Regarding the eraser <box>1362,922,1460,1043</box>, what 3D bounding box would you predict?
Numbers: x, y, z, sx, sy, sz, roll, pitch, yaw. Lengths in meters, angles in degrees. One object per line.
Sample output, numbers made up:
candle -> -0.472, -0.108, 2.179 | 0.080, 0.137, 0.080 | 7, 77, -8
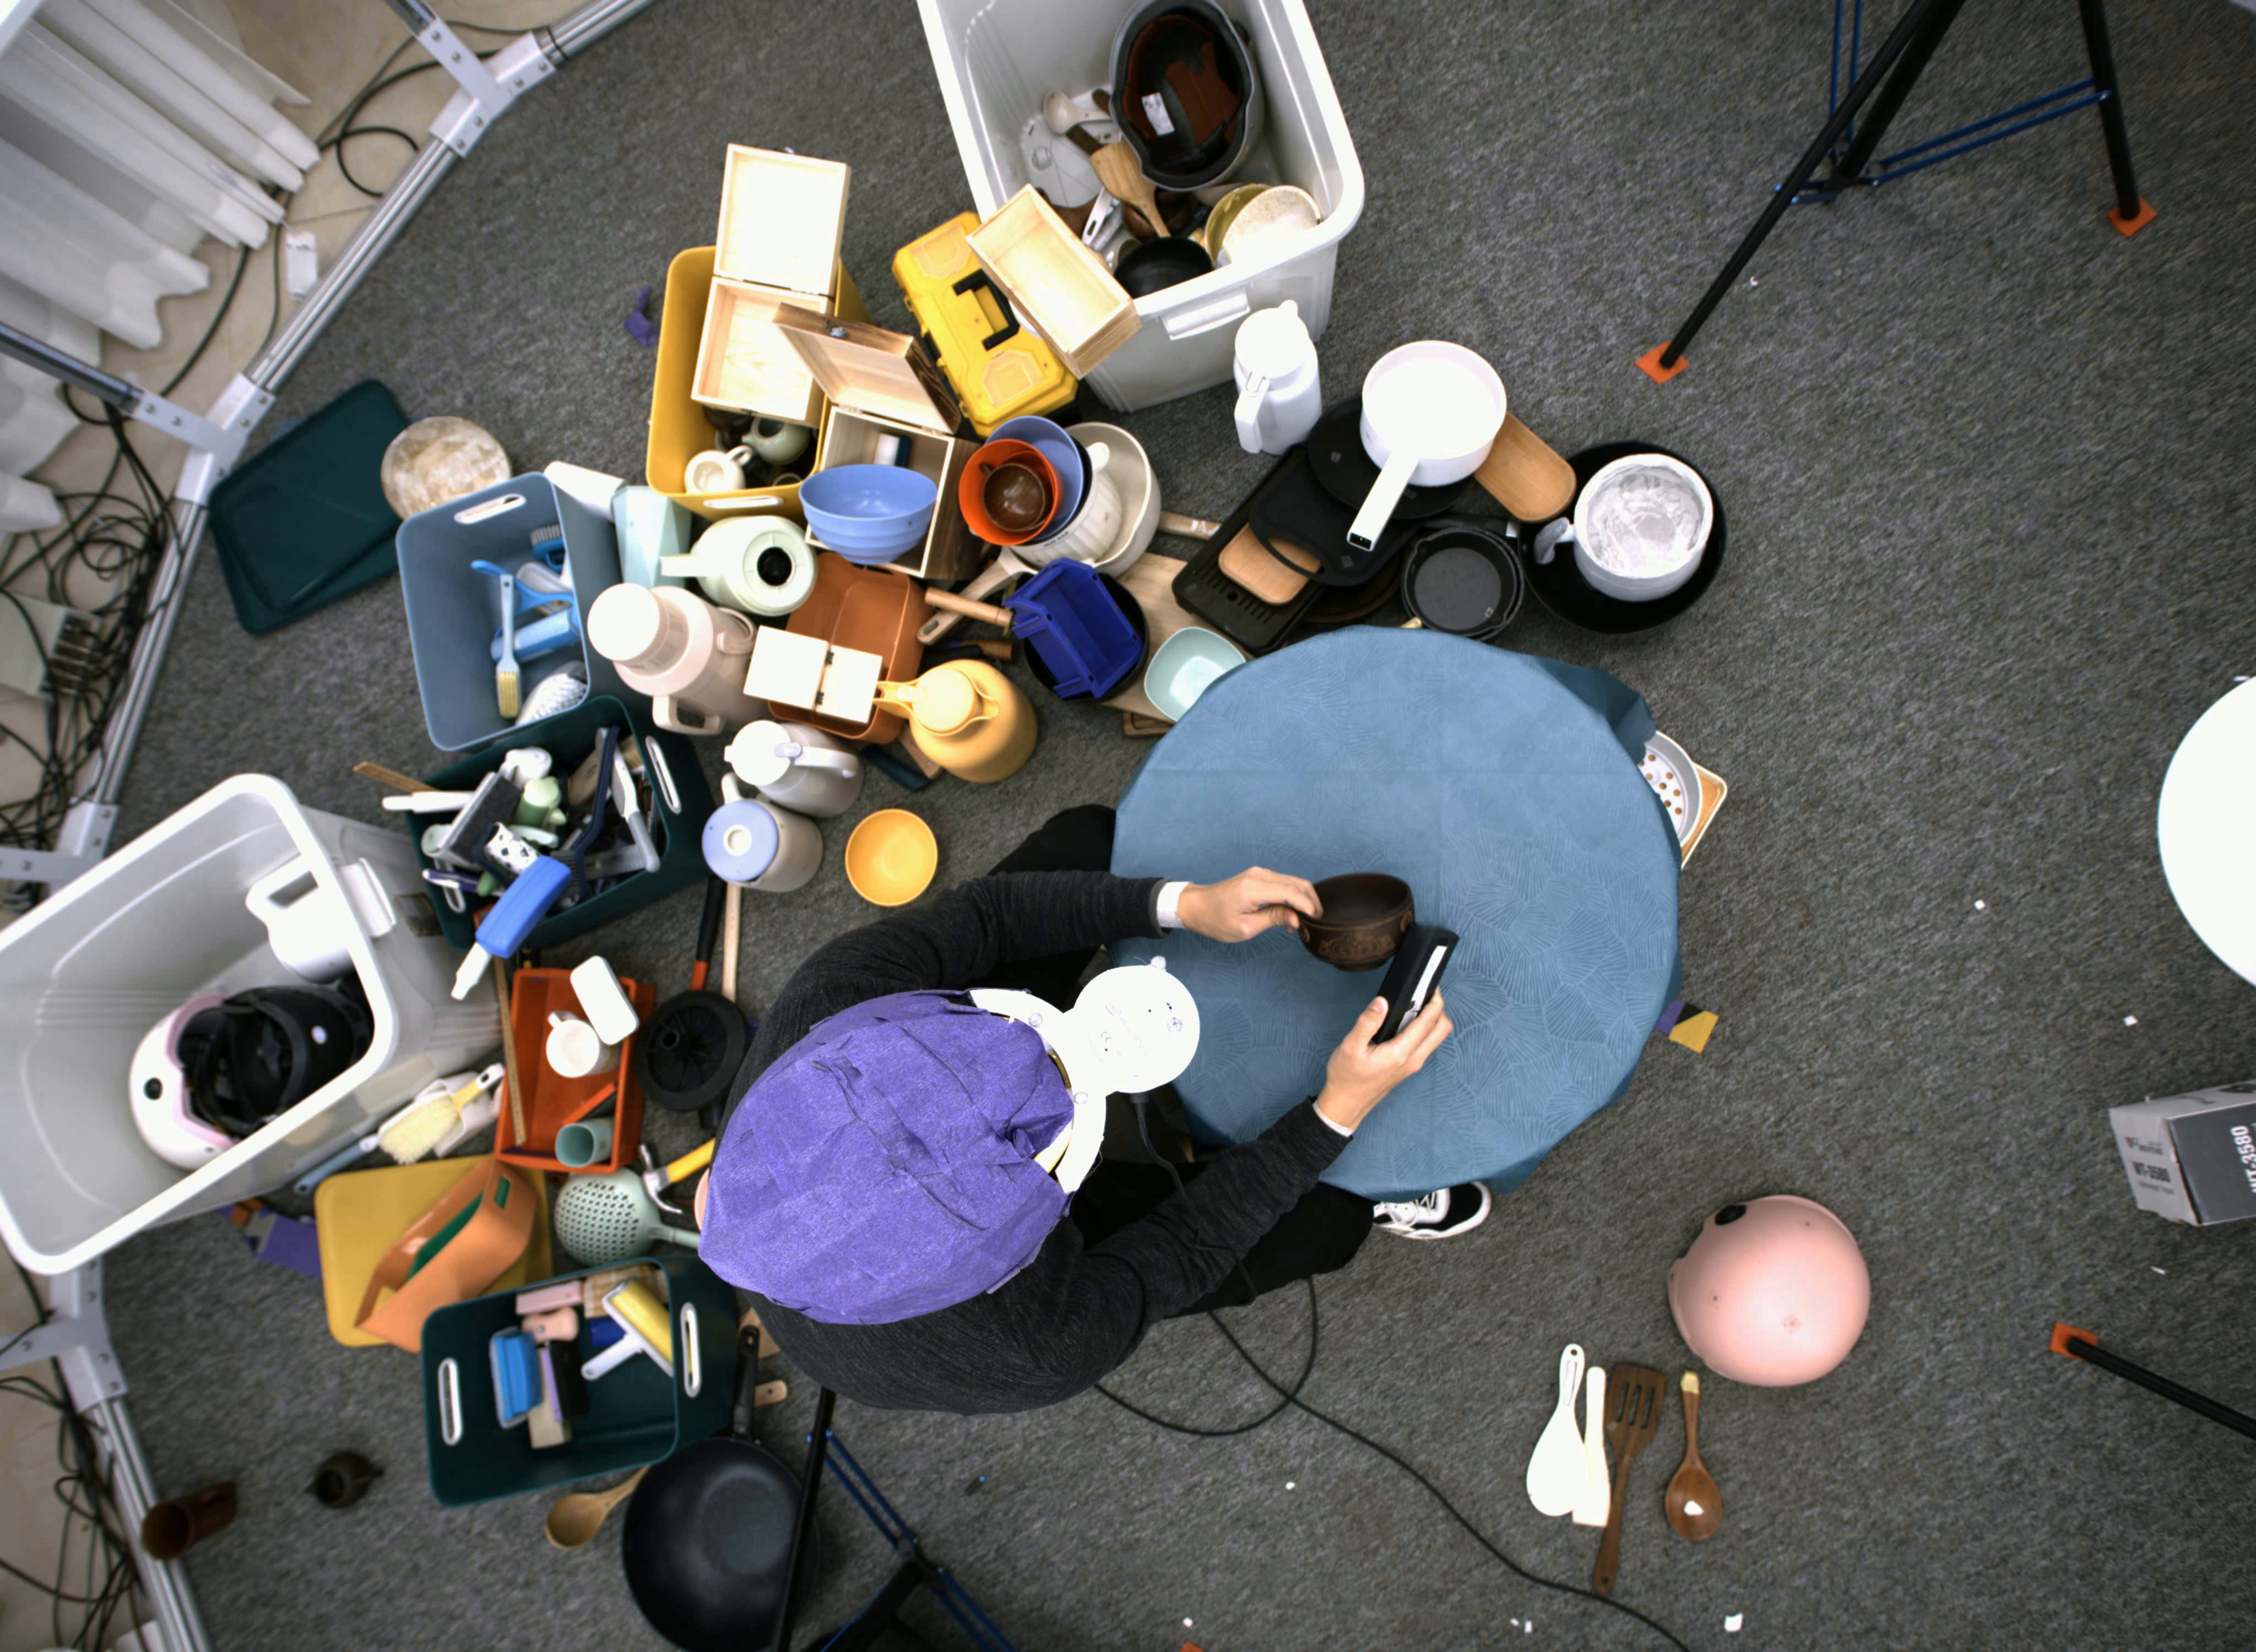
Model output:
eraser -> 0.271, 0.148, 1.328 | 0.030, 0.053, 0.128 | 46, 125, 45

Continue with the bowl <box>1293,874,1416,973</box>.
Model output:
bowl -> 0.224, 0.100, 1.354 | 0.118, 0.115, 0.071 | -8, 111, 9
